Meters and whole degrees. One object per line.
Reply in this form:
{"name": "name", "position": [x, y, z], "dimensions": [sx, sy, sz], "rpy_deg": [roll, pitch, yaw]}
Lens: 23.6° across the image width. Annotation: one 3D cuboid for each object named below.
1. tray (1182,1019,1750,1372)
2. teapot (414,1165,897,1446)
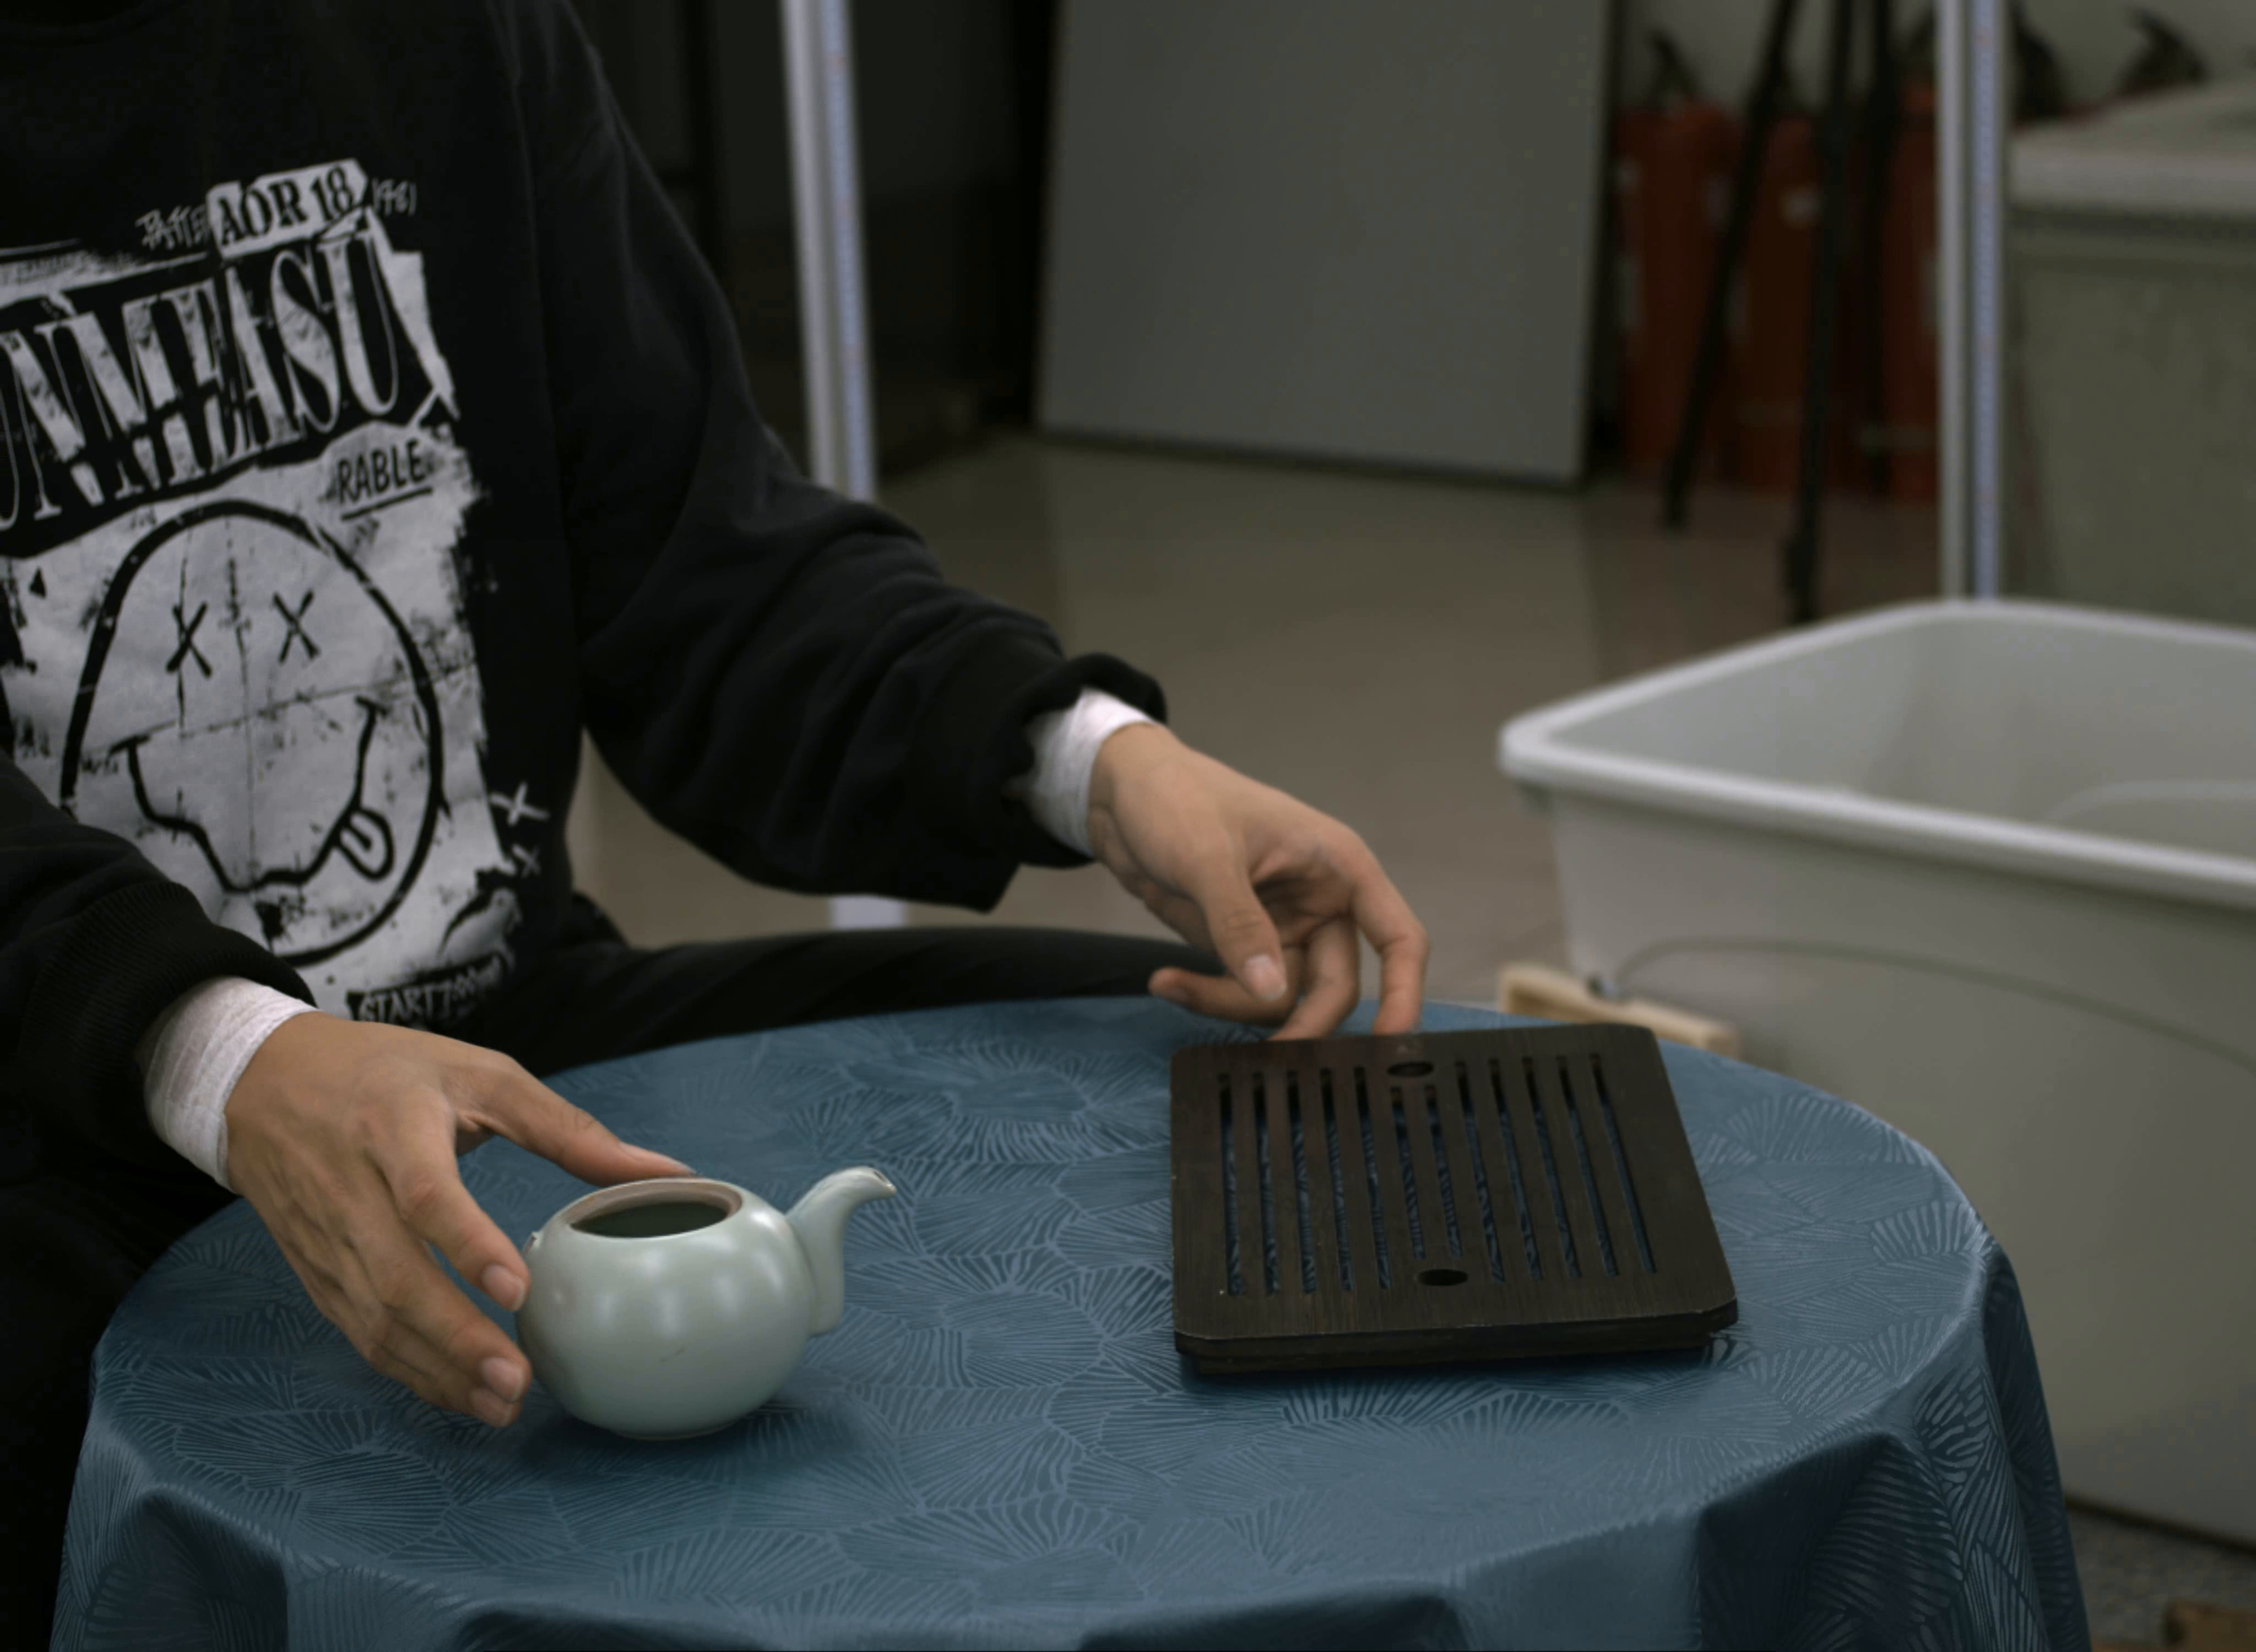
{"name": "tray", "position": [0.102, 0.116, 1.726], "dimensions": [0.168, 0.019, 0.306], "rpy_deg": [-4, 14, 2]}
{"name": "teapot", "position": [-0.137, 0.140, 1.587], "dimensions": [0.141, 0.075, 0.088], "rpy_deg": [-4, 14, -4]}
